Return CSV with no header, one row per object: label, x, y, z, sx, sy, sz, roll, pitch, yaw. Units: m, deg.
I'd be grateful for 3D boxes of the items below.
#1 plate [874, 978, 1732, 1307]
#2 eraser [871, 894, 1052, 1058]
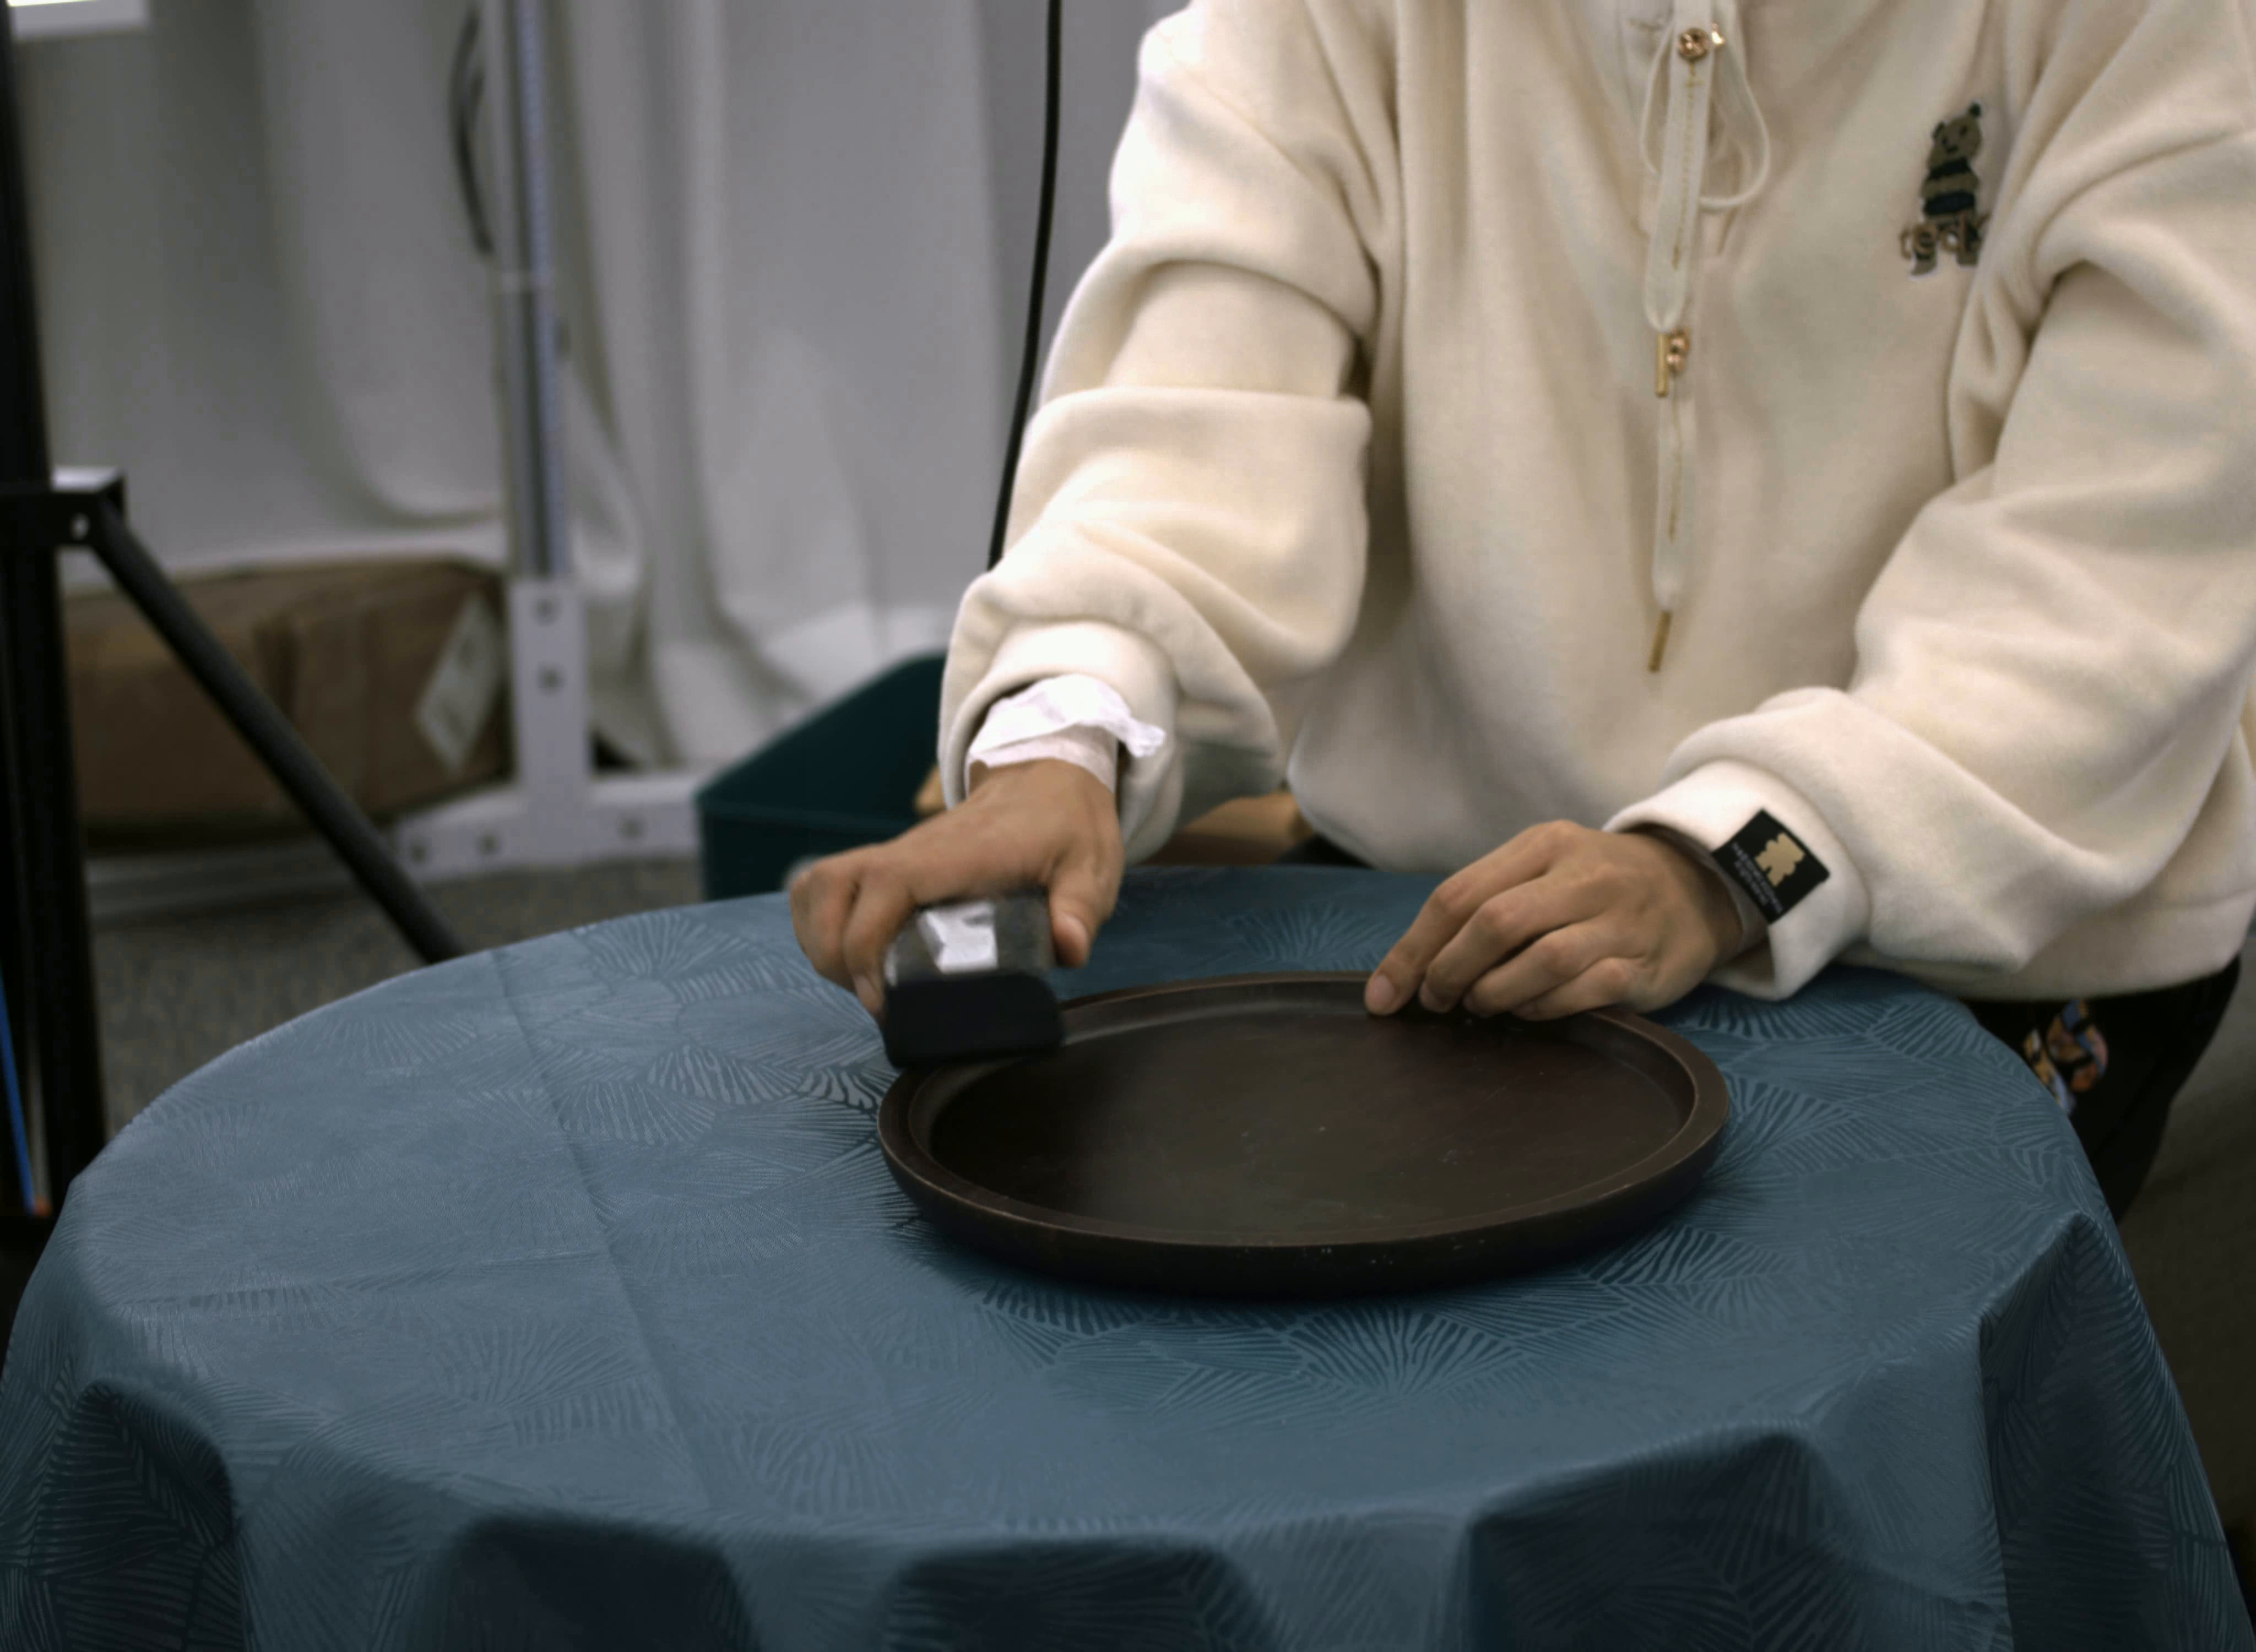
plate,0.051,0.090,1.567,0.253,0.029,0.256,-4,17,0
eraser,-0.048,0.044,1.606,0.053,0.030,0.126,-5,8,0
